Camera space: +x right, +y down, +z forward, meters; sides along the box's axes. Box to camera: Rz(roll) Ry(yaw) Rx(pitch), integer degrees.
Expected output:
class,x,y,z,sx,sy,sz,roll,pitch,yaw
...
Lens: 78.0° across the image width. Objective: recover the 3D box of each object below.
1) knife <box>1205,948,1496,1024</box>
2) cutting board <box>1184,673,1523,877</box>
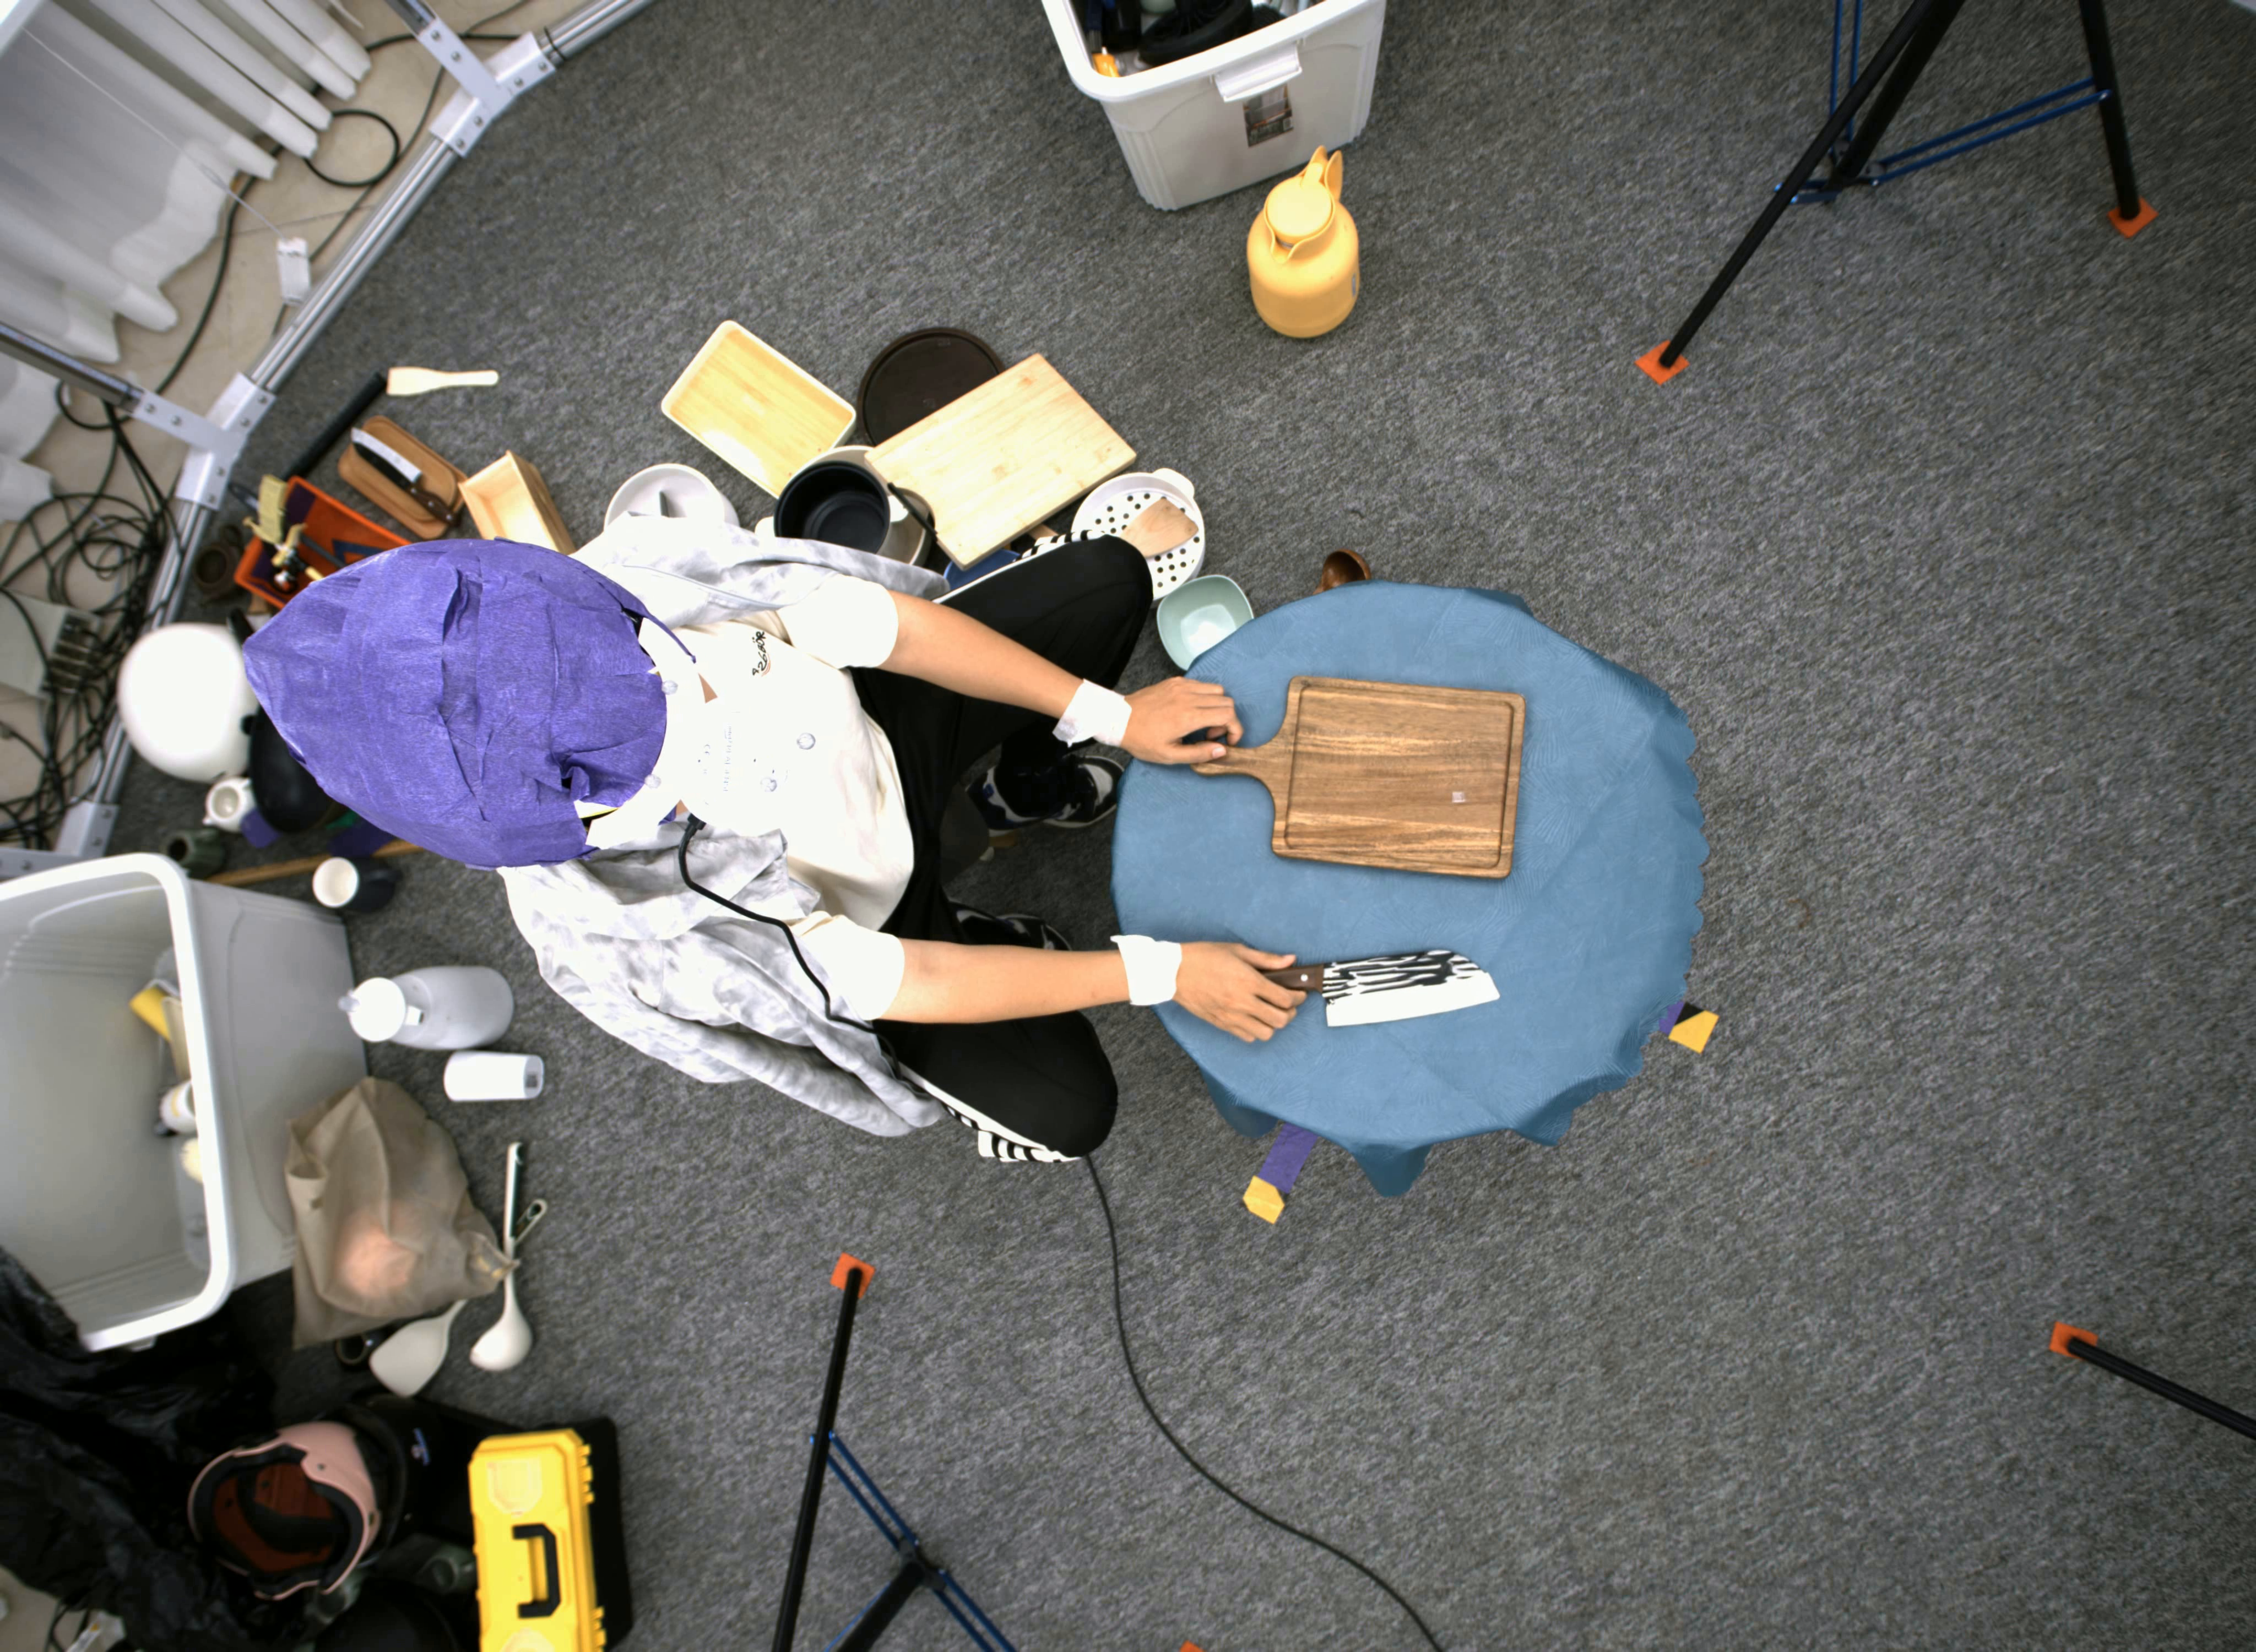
class,x,y,z,sx,sy,sz,roll,pitch,yaw
knife,0.232,0.170,1.450,0.301,0.024,0.068,-7,89,8
cutting board,0.234,-0.061,1.462,0.353,0.023,0.200,6,88,11
